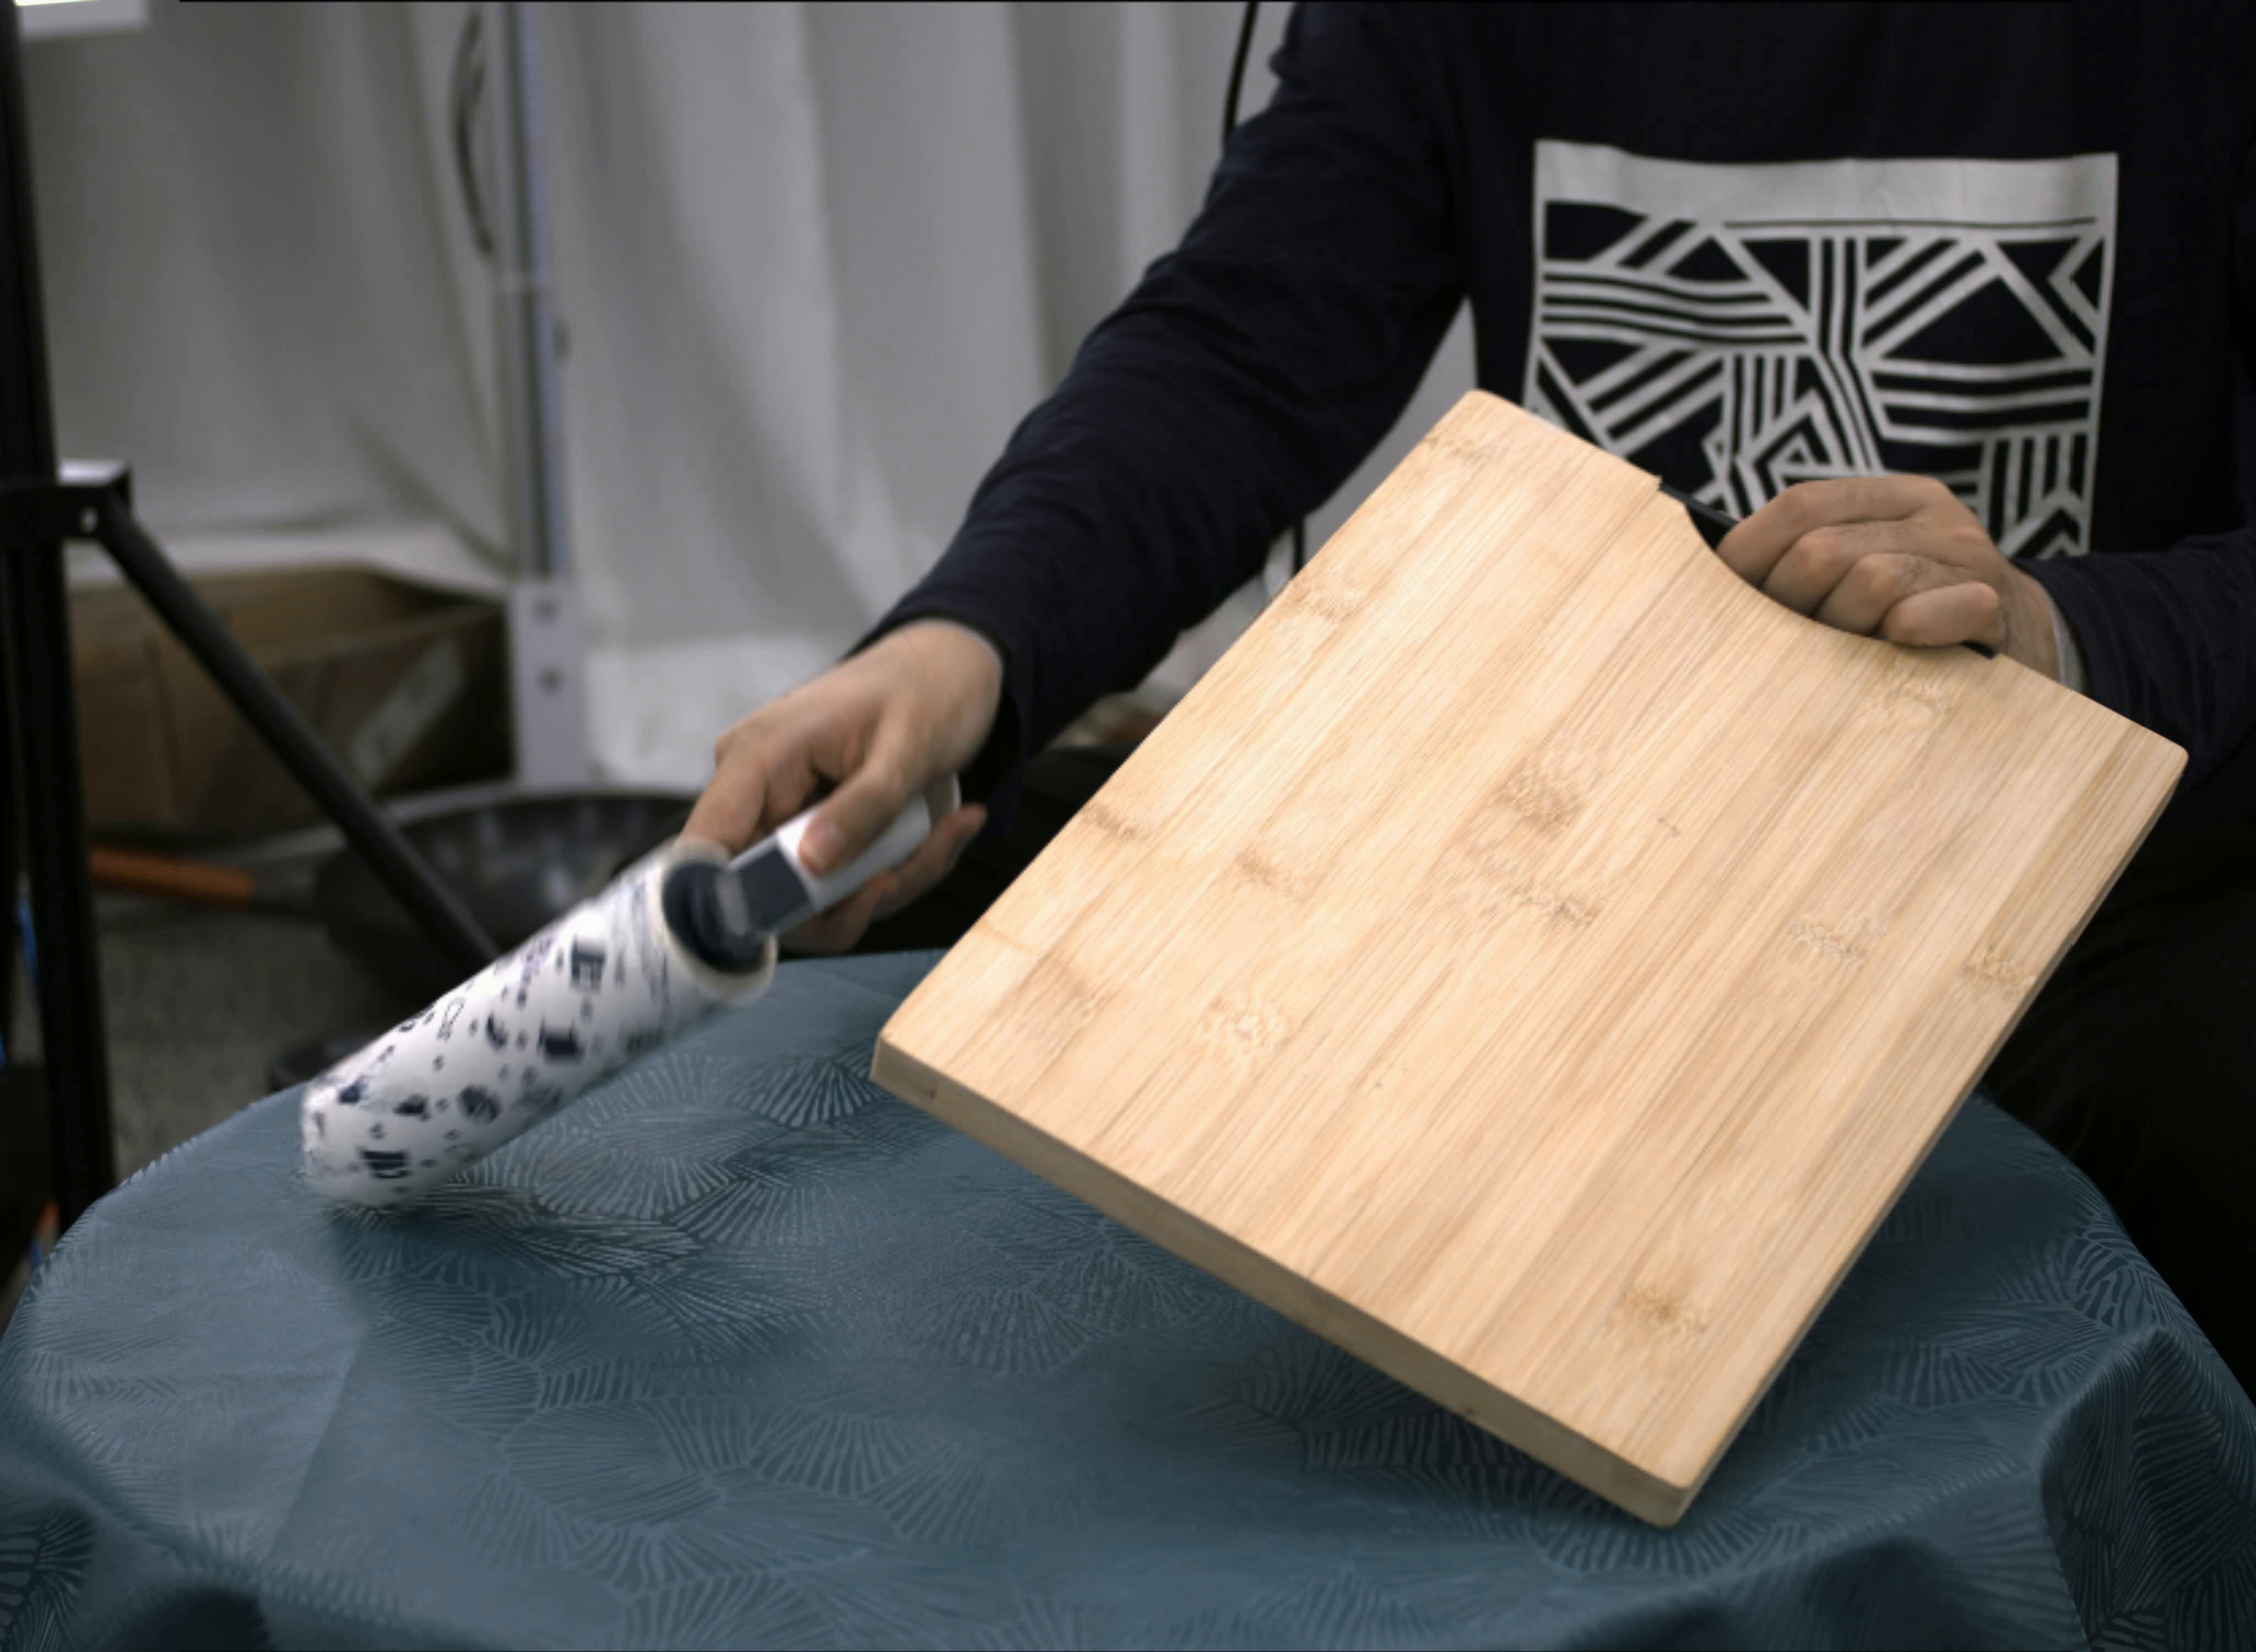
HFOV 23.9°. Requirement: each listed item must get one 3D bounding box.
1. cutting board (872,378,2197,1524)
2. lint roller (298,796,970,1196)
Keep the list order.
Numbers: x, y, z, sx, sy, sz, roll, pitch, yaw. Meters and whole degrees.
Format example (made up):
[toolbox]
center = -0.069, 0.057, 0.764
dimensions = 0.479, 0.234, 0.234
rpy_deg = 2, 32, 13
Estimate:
[cutting board]
center = 0.120, 0.020, 1.449
dimensions = 0.253, 0.023, 0.345
rpy_deg = 28, 46, 16
[lint roller]
center = -0.123, 0.030, 1.616
dimensions = 0.179, 0.050, 0.243
rpy_deg = -26, 3, 36
